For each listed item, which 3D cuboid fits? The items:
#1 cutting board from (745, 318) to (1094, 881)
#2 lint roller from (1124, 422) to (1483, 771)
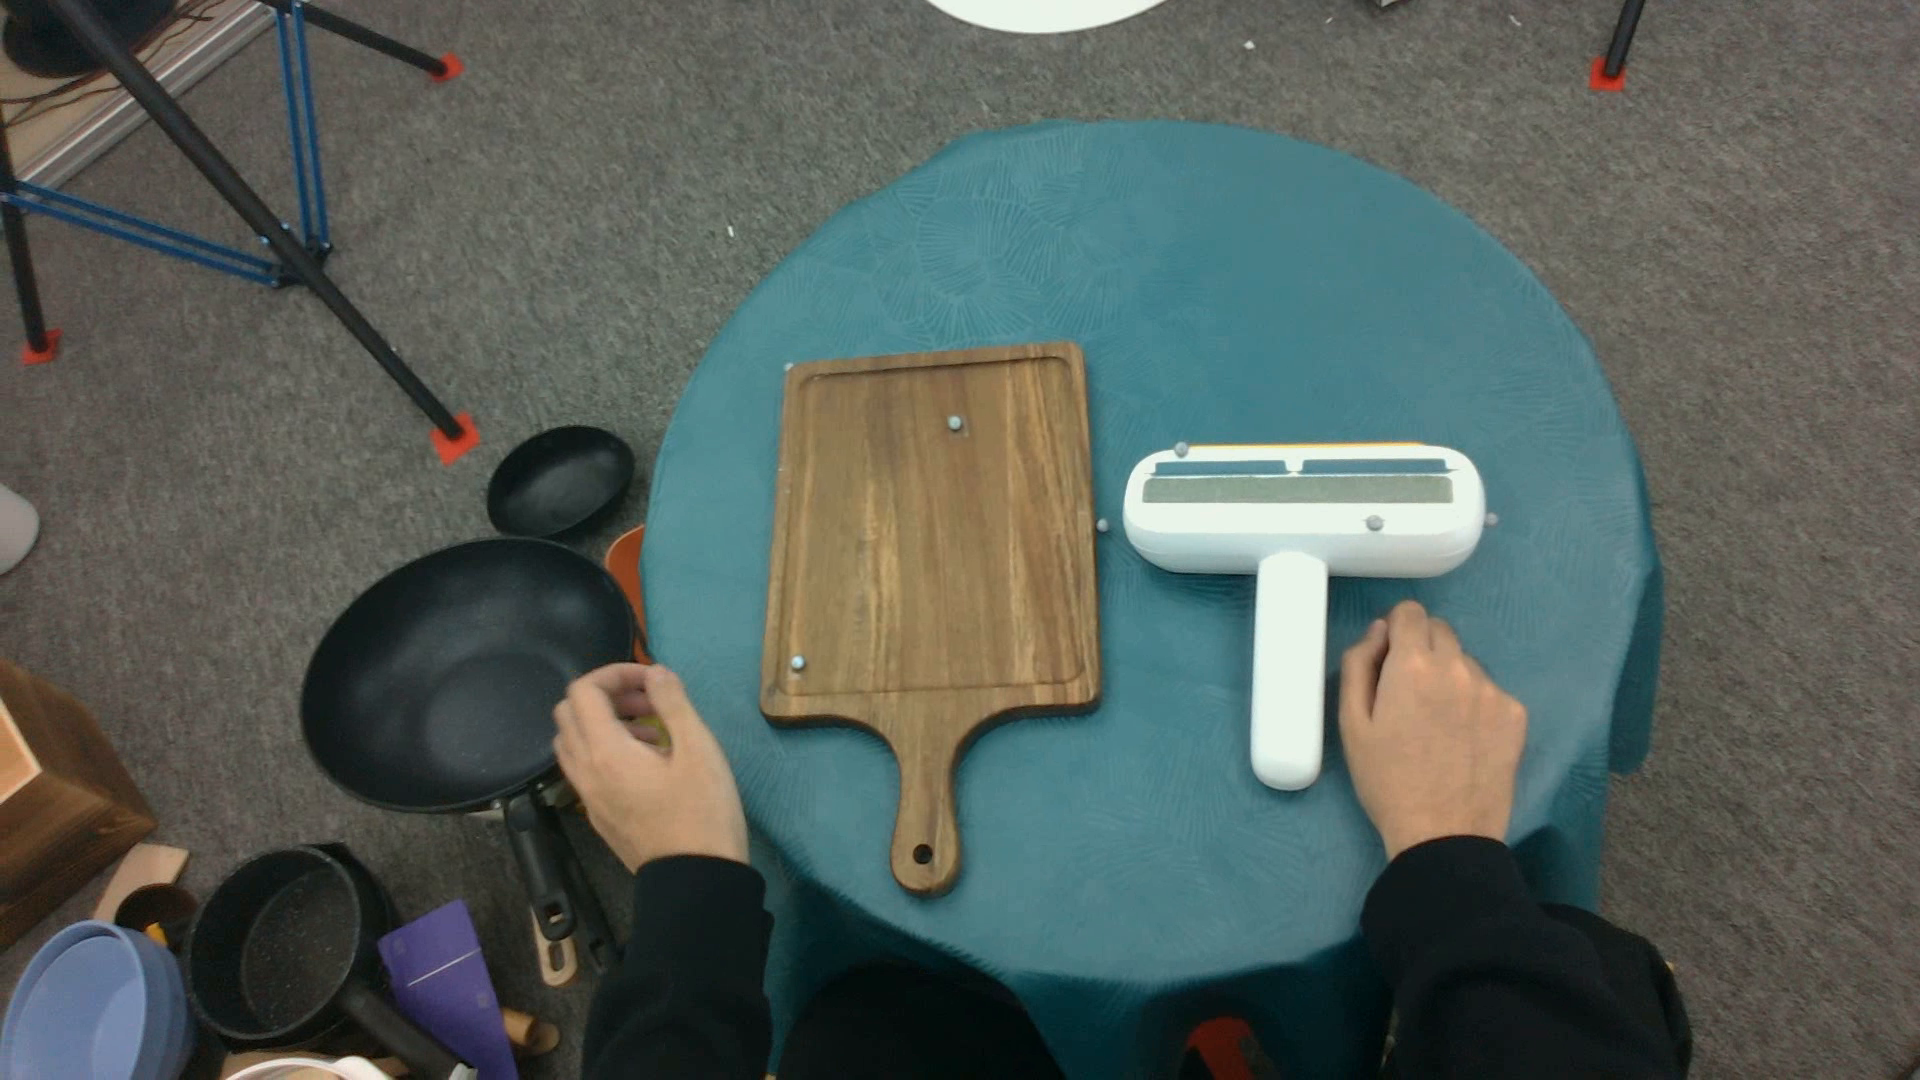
[{"bbox_3d":[-0.026,0.022,0.807,0.201,0.023,0.353,-4,61,6],"label":"cutting board"},{"bbox_3d":[0.176,0.027,0.747,0.192,0.074,0.193,6,64,18],"label":"lint roller"}]
